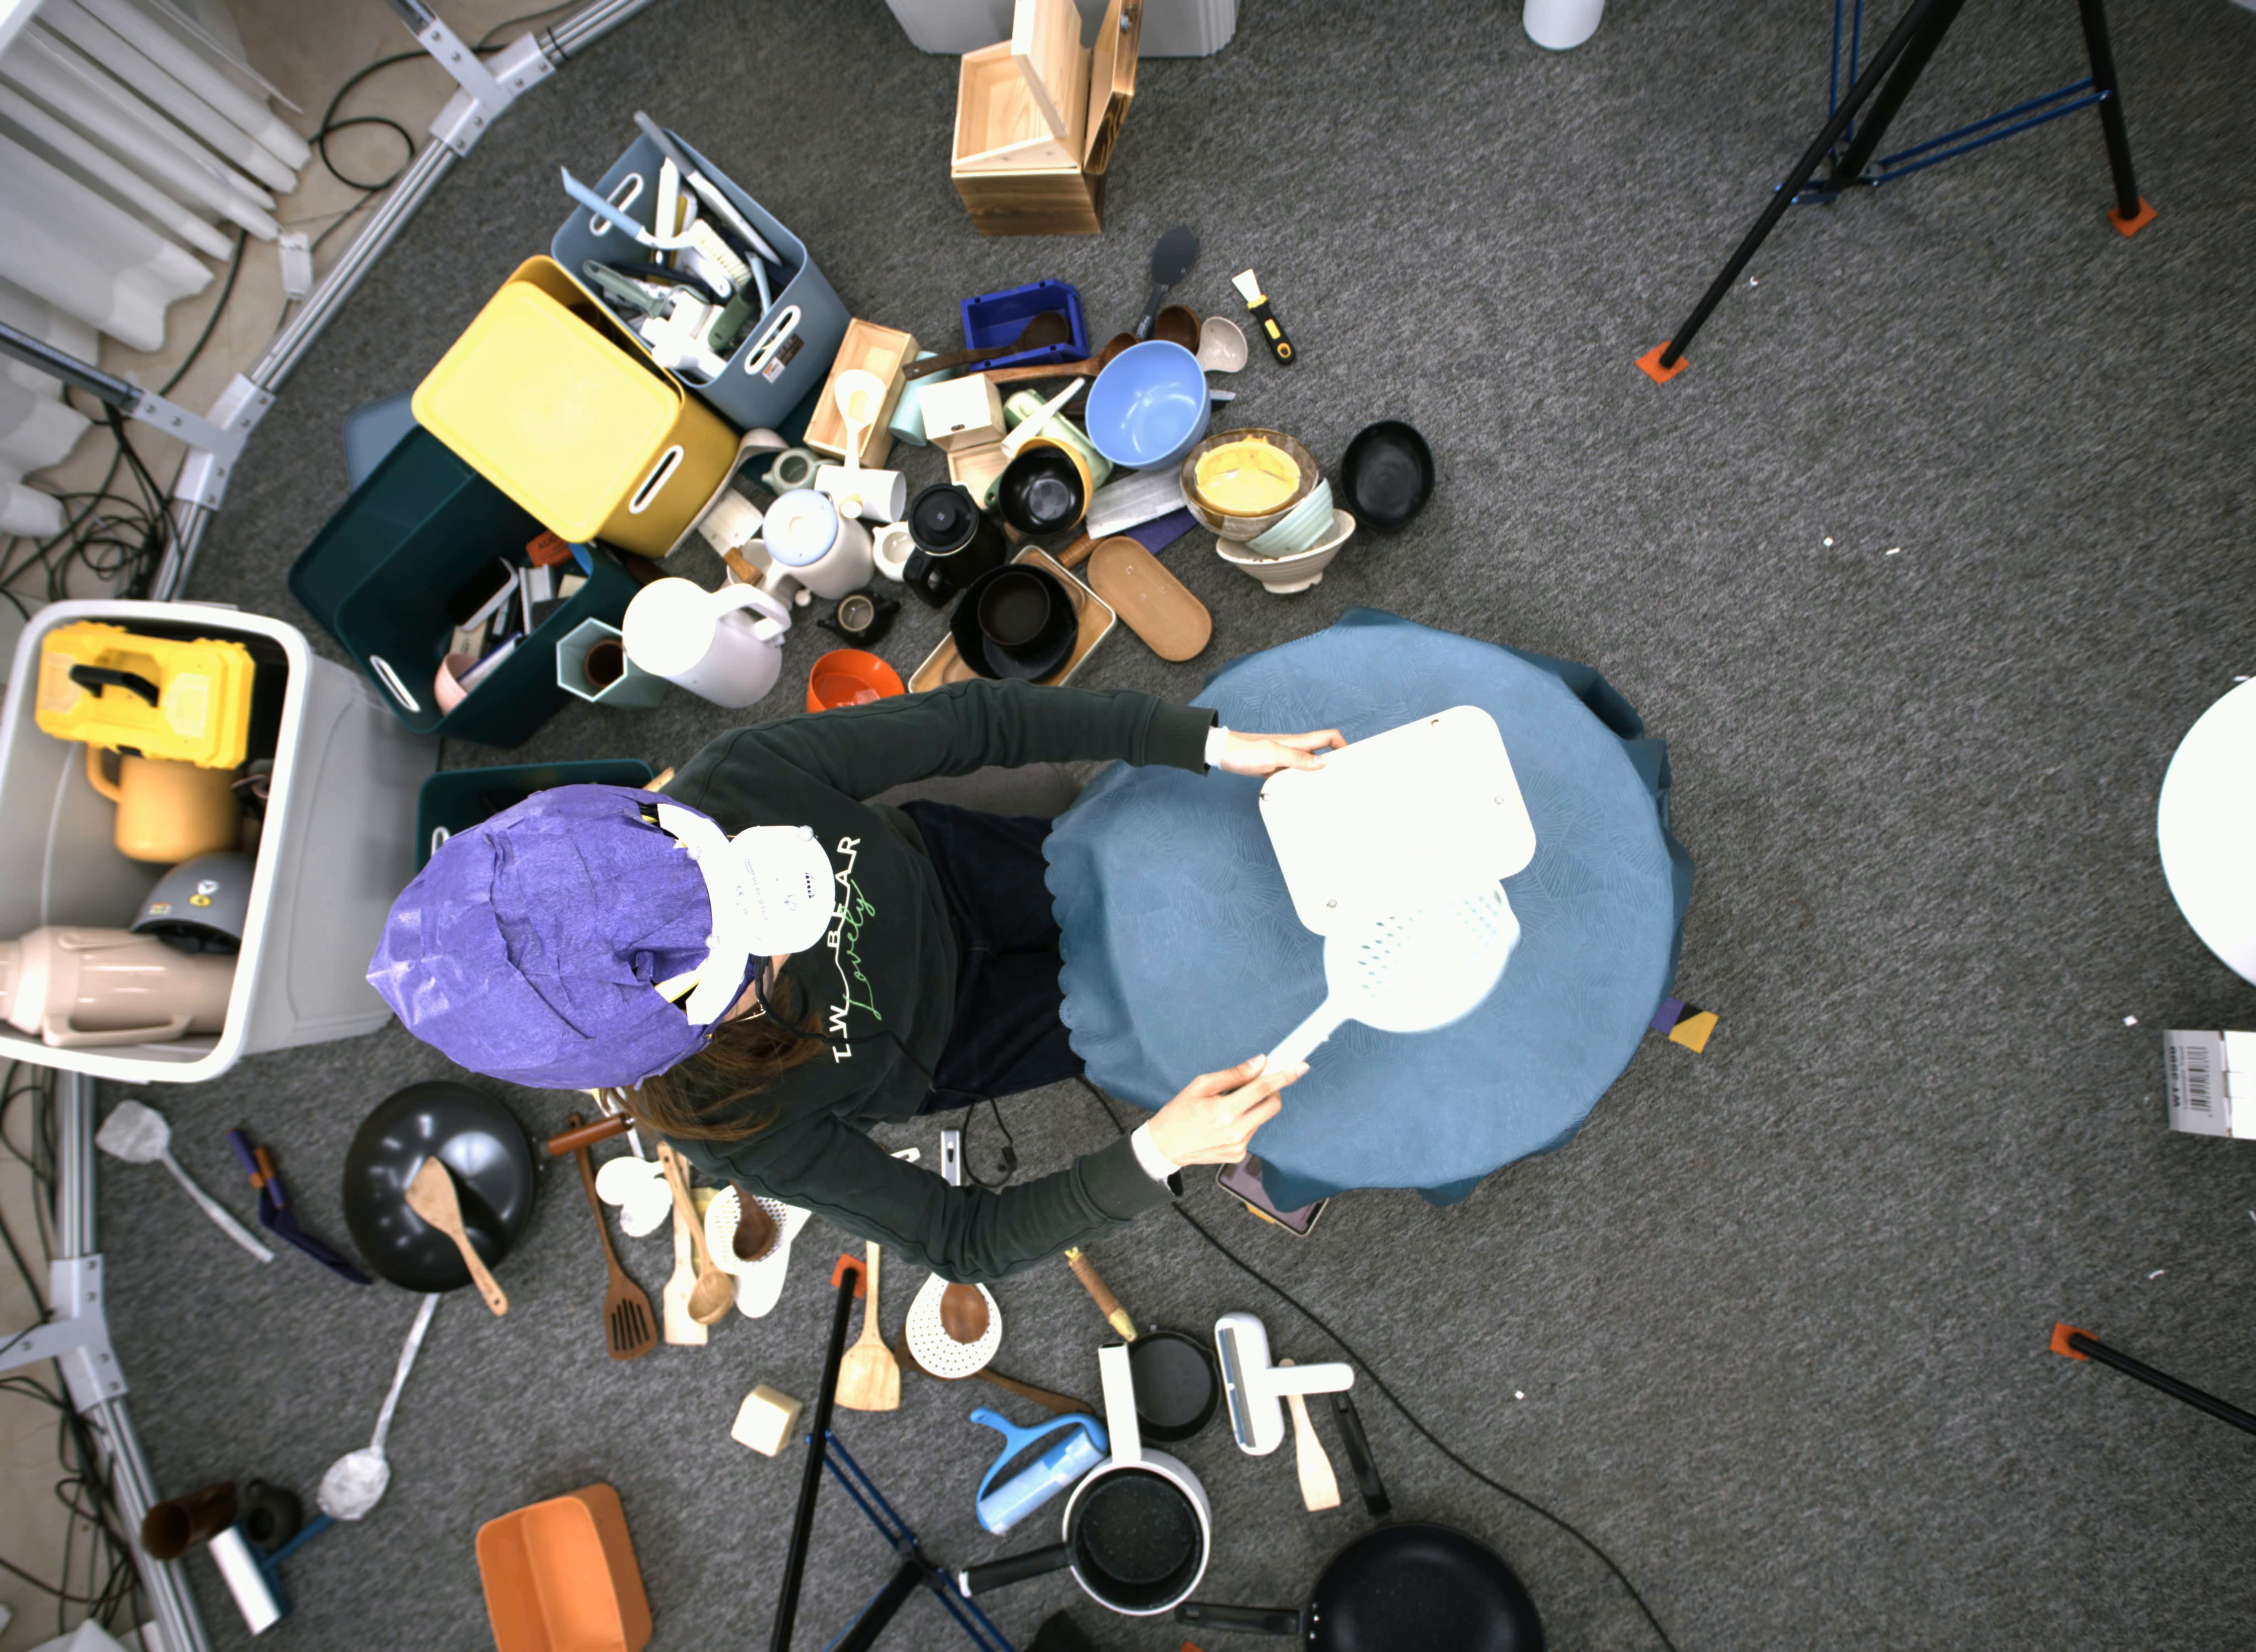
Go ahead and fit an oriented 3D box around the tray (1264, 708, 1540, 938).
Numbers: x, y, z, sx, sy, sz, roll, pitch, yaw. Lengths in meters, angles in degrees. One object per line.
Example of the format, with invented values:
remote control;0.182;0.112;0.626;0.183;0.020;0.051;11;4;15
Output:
tray;0.264;-0.003;1.335;0.241;0.017;0.171;-20;93;9

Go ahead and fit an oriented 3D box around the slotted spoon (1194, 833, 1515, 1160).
slotted spoon;0.183;0.161;1.208;0.360;0.076;0.166;-40;41;4
